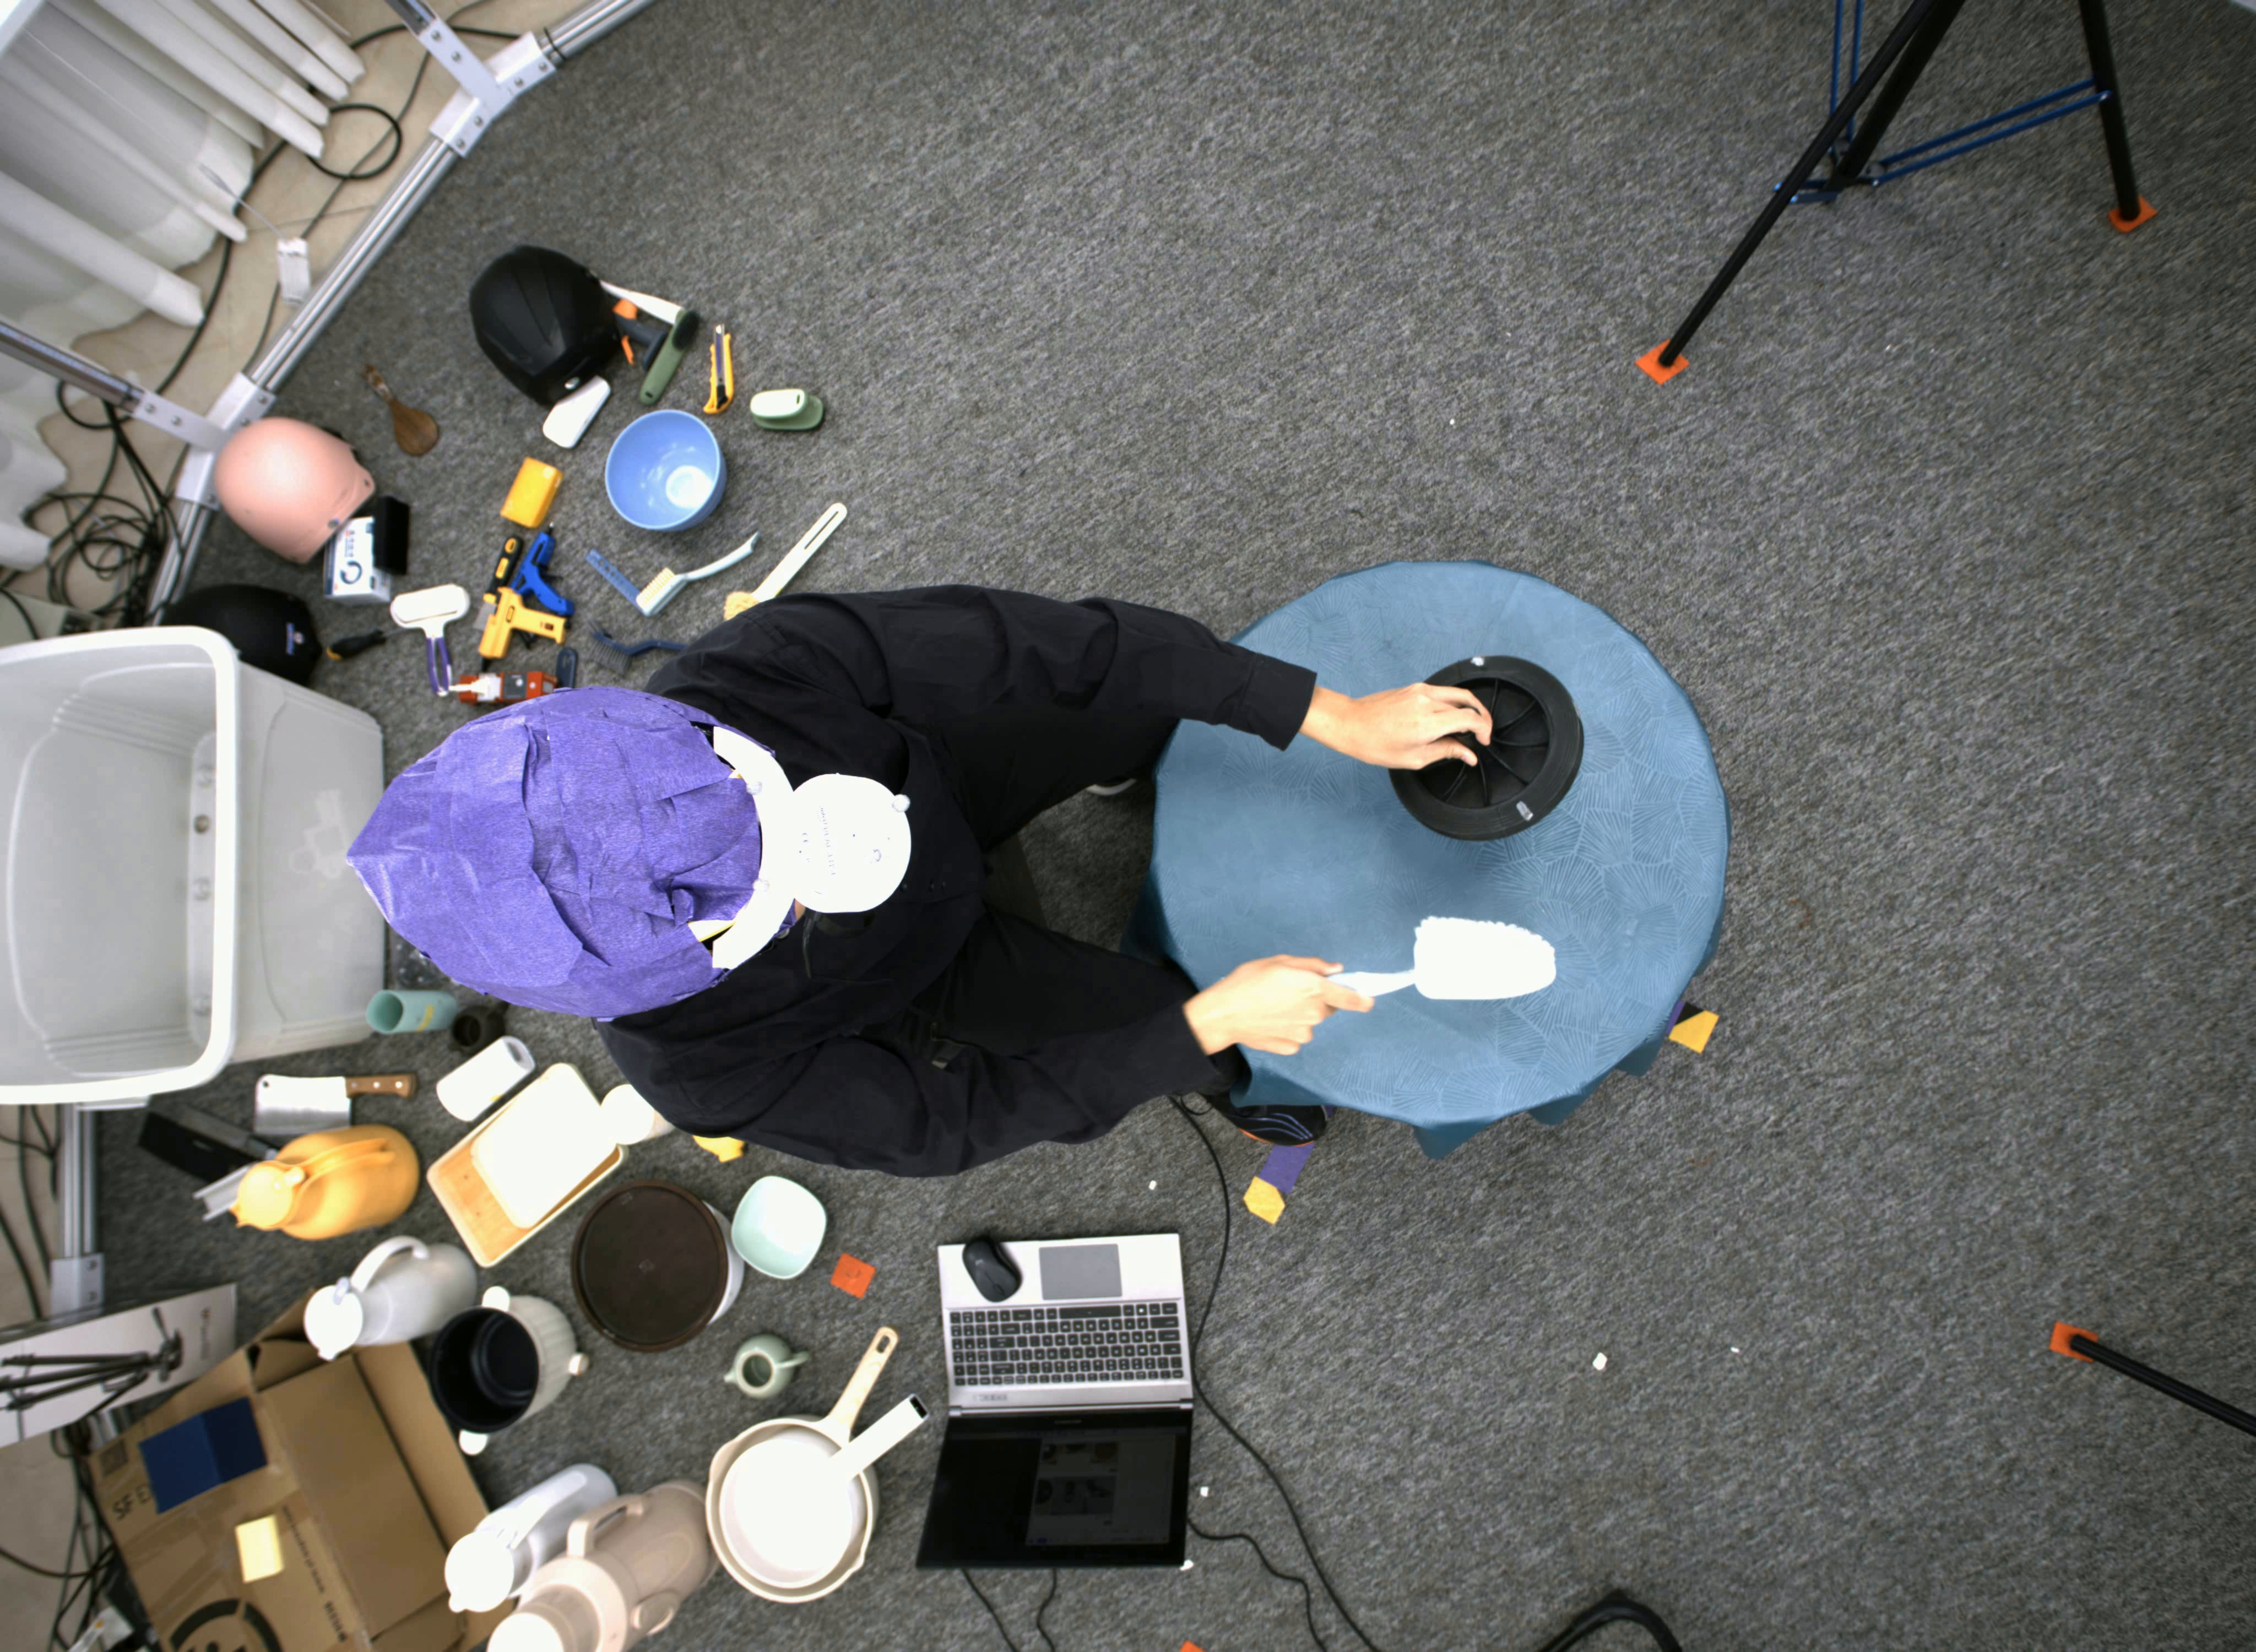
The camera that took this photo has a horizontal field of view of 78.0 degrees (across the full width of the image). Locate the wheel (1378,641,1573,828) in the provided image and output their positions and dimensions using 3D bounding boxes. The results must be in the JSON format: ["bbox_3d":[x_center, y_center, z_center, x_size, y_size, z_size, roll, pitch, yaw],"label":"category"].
[{"bbox_3d":[0.321,-0.098,1.301,0.191,0.079,0.185,-48,56,8],"label":"wheel"}]

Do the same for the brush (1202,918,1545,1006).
[{"bbox_3d":[0.232,0.129,1.318,0.326,0.085,0.082,-4,73,5],"label":"brush"}]
